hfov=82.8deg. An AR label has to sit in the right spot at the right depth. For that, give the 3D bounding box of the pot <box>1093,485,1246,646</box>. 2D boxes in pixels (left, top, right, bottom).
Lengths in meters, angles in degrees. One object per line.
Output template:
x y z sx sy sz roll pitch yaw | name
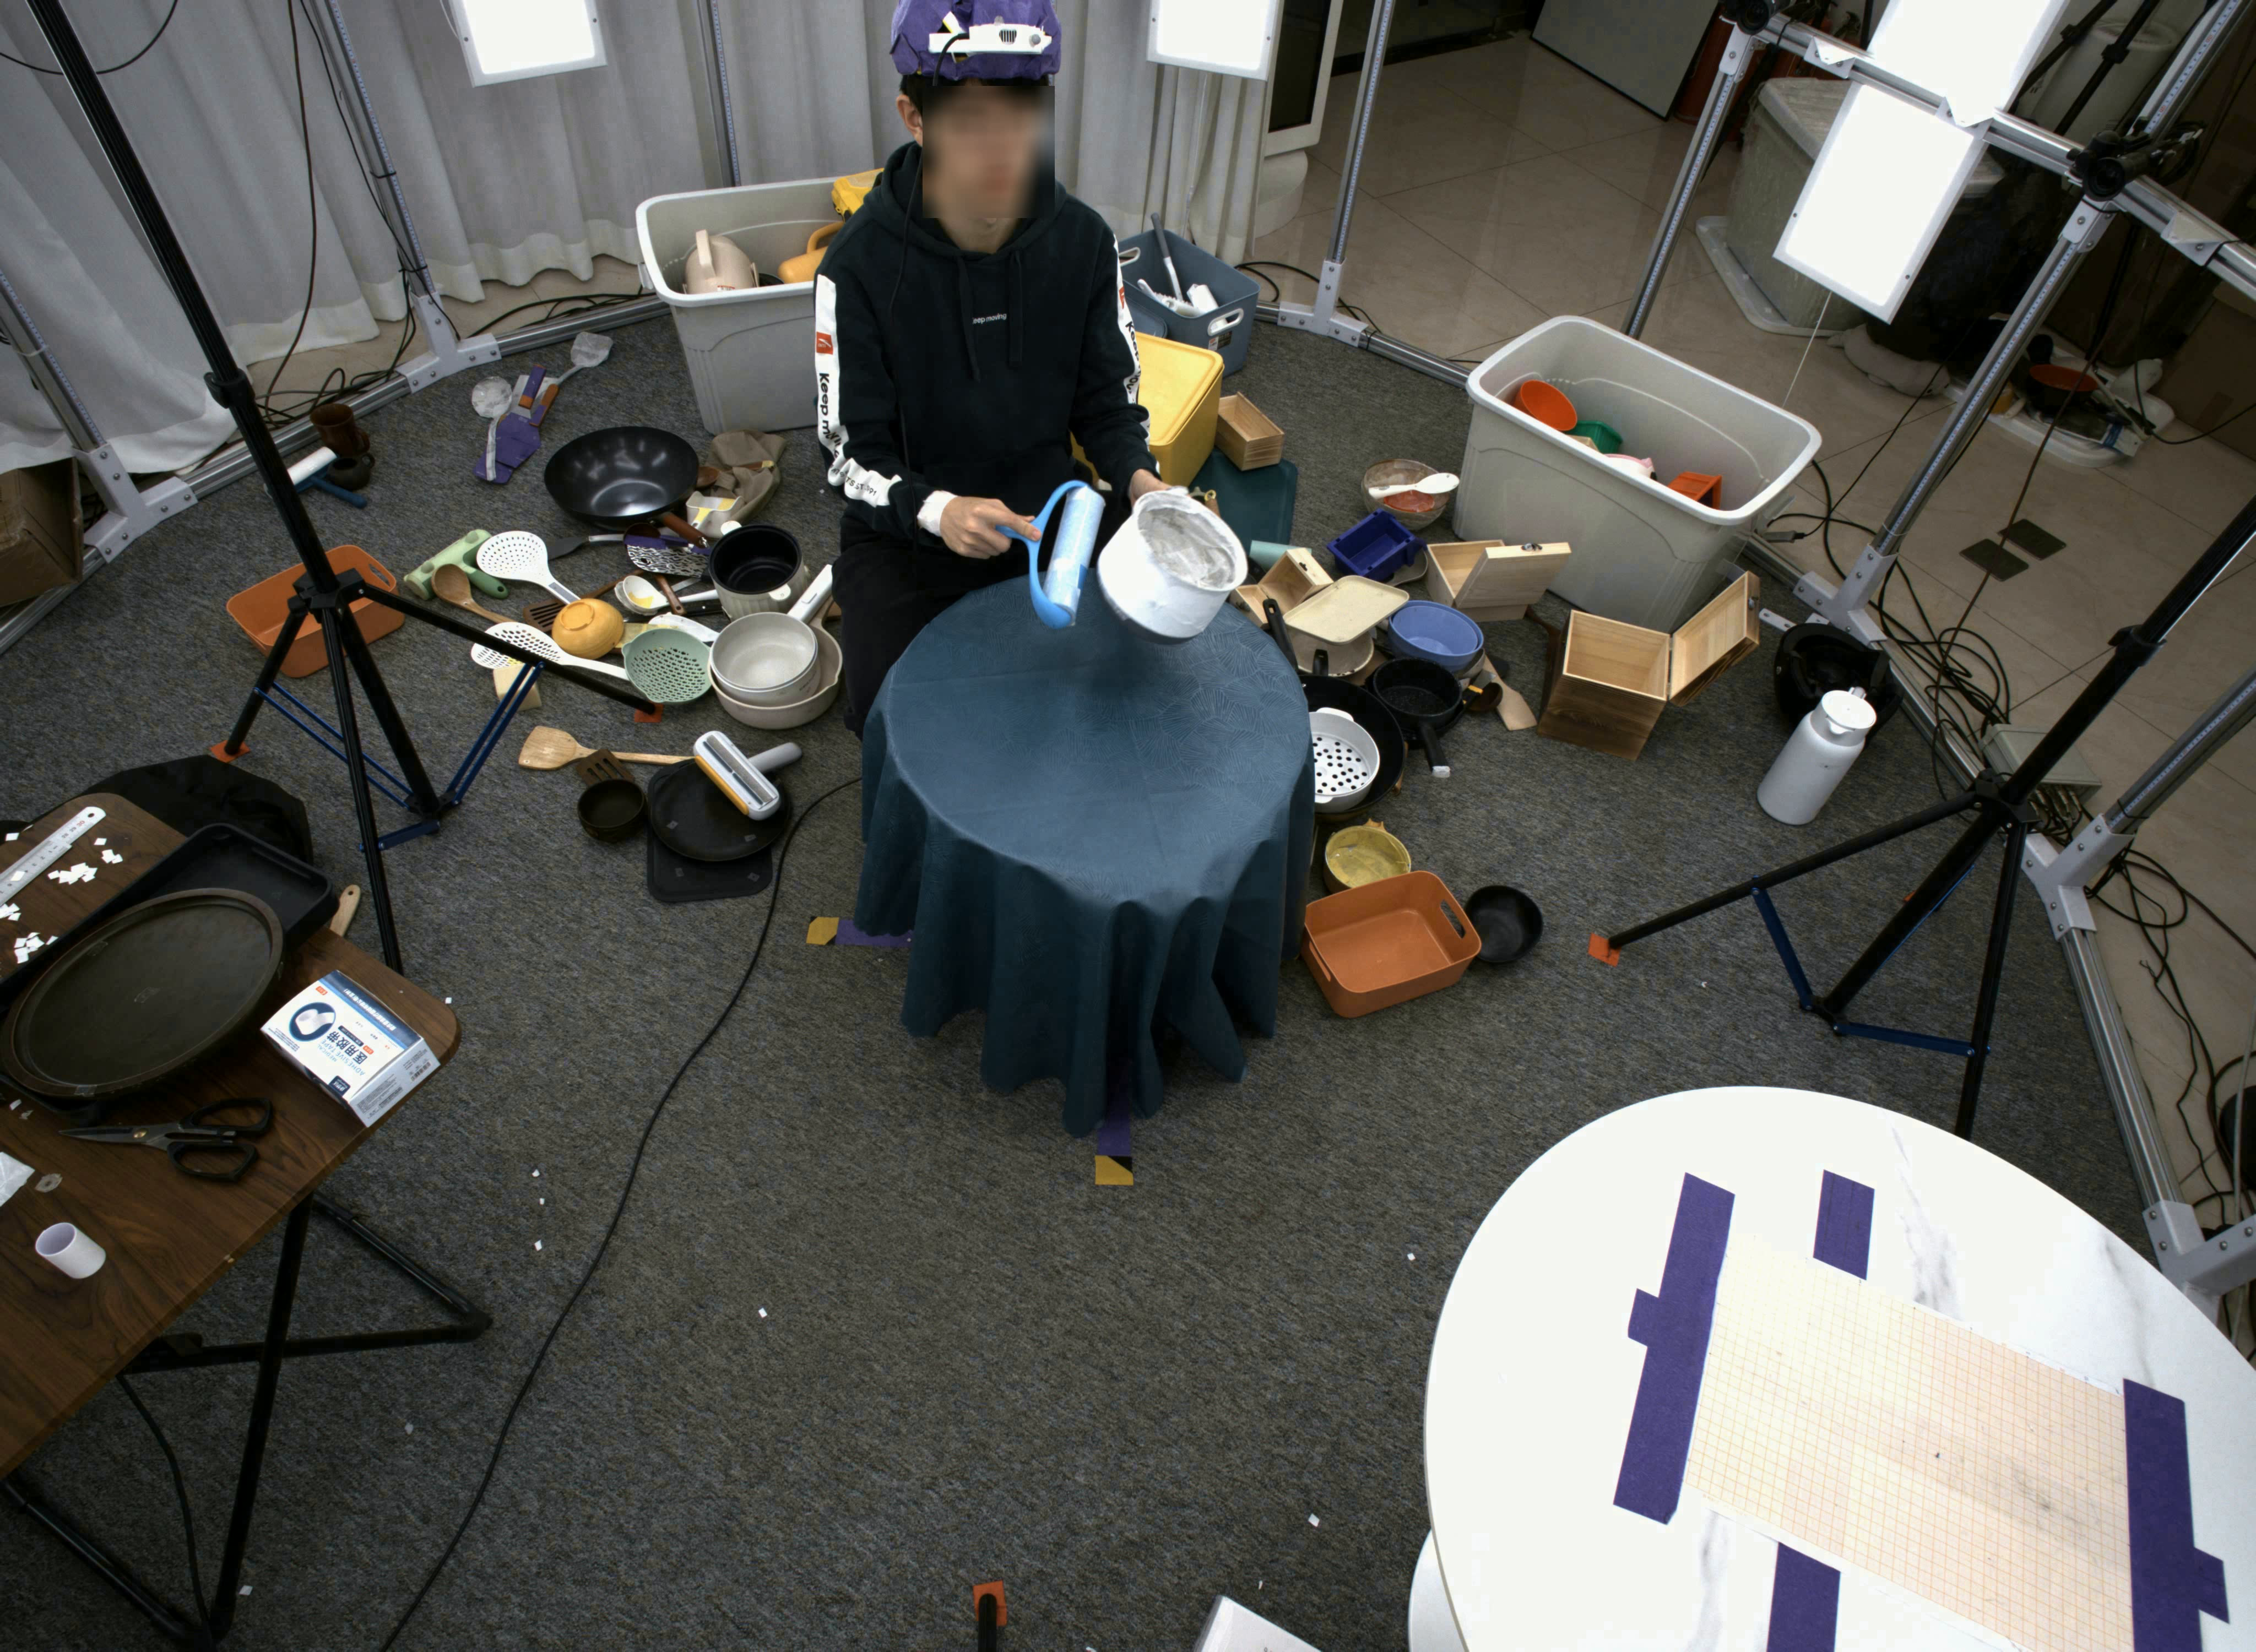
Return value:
0.049 -0.367 1.760 0.177 0.134 0.239 14 51 -25 | pot

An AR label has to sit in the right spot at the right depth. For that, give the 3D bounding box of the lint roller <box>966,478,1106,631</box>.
-0.130 -0.379 1.750 0.180 0.067 0.233 10 69 -4 | lint roller
